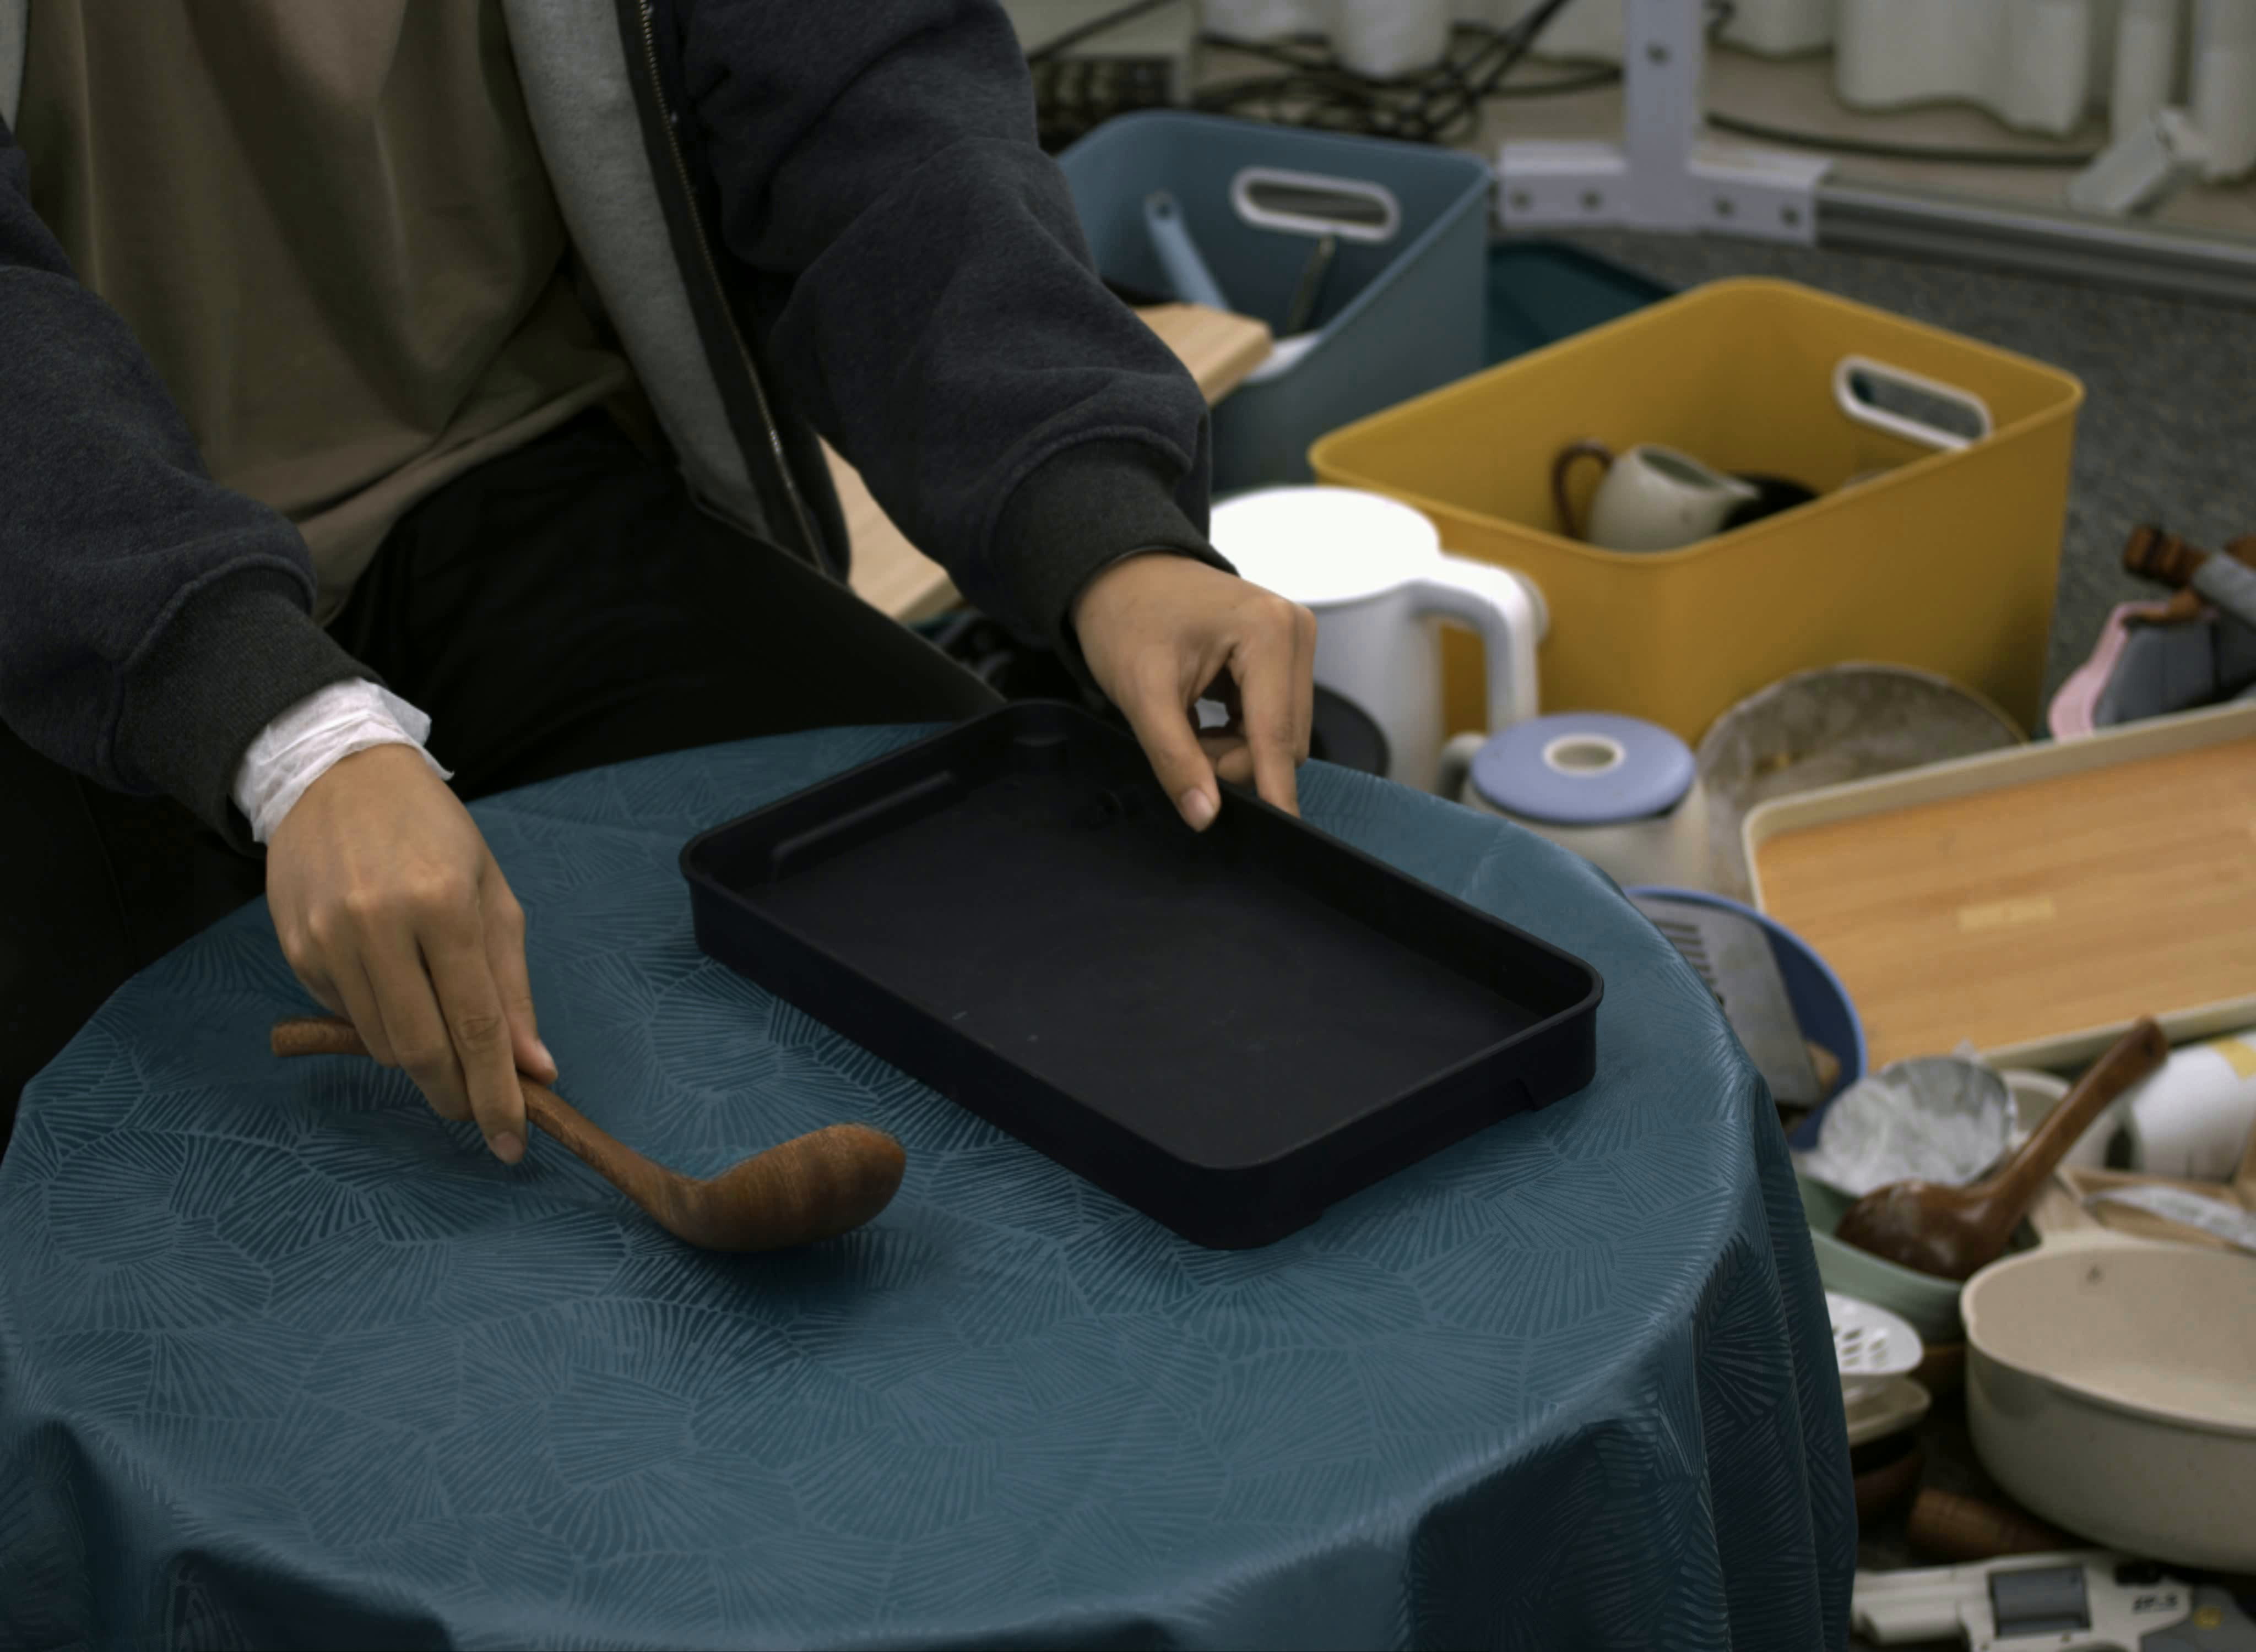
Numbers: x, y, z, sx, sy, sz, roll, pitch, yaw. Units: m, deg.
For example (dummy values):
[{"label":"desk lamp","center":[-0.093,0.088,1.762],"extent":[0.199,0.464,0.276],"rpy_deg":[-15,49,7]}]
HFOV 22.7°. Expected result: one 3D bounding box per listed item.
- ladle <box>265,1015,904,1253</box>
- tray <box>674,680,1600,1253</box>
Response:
[{"label":"ladle","center":[-0.185,0.086,1.867],"extent":[0.259,0.065,0.077],"rpy_deg":[21,10,32]},{"label":"tray","center":[-0.001,0.043,1.969],"extent":[0.186,0.036,0.318],"rpy_deg":[-24,35,-33]}]
